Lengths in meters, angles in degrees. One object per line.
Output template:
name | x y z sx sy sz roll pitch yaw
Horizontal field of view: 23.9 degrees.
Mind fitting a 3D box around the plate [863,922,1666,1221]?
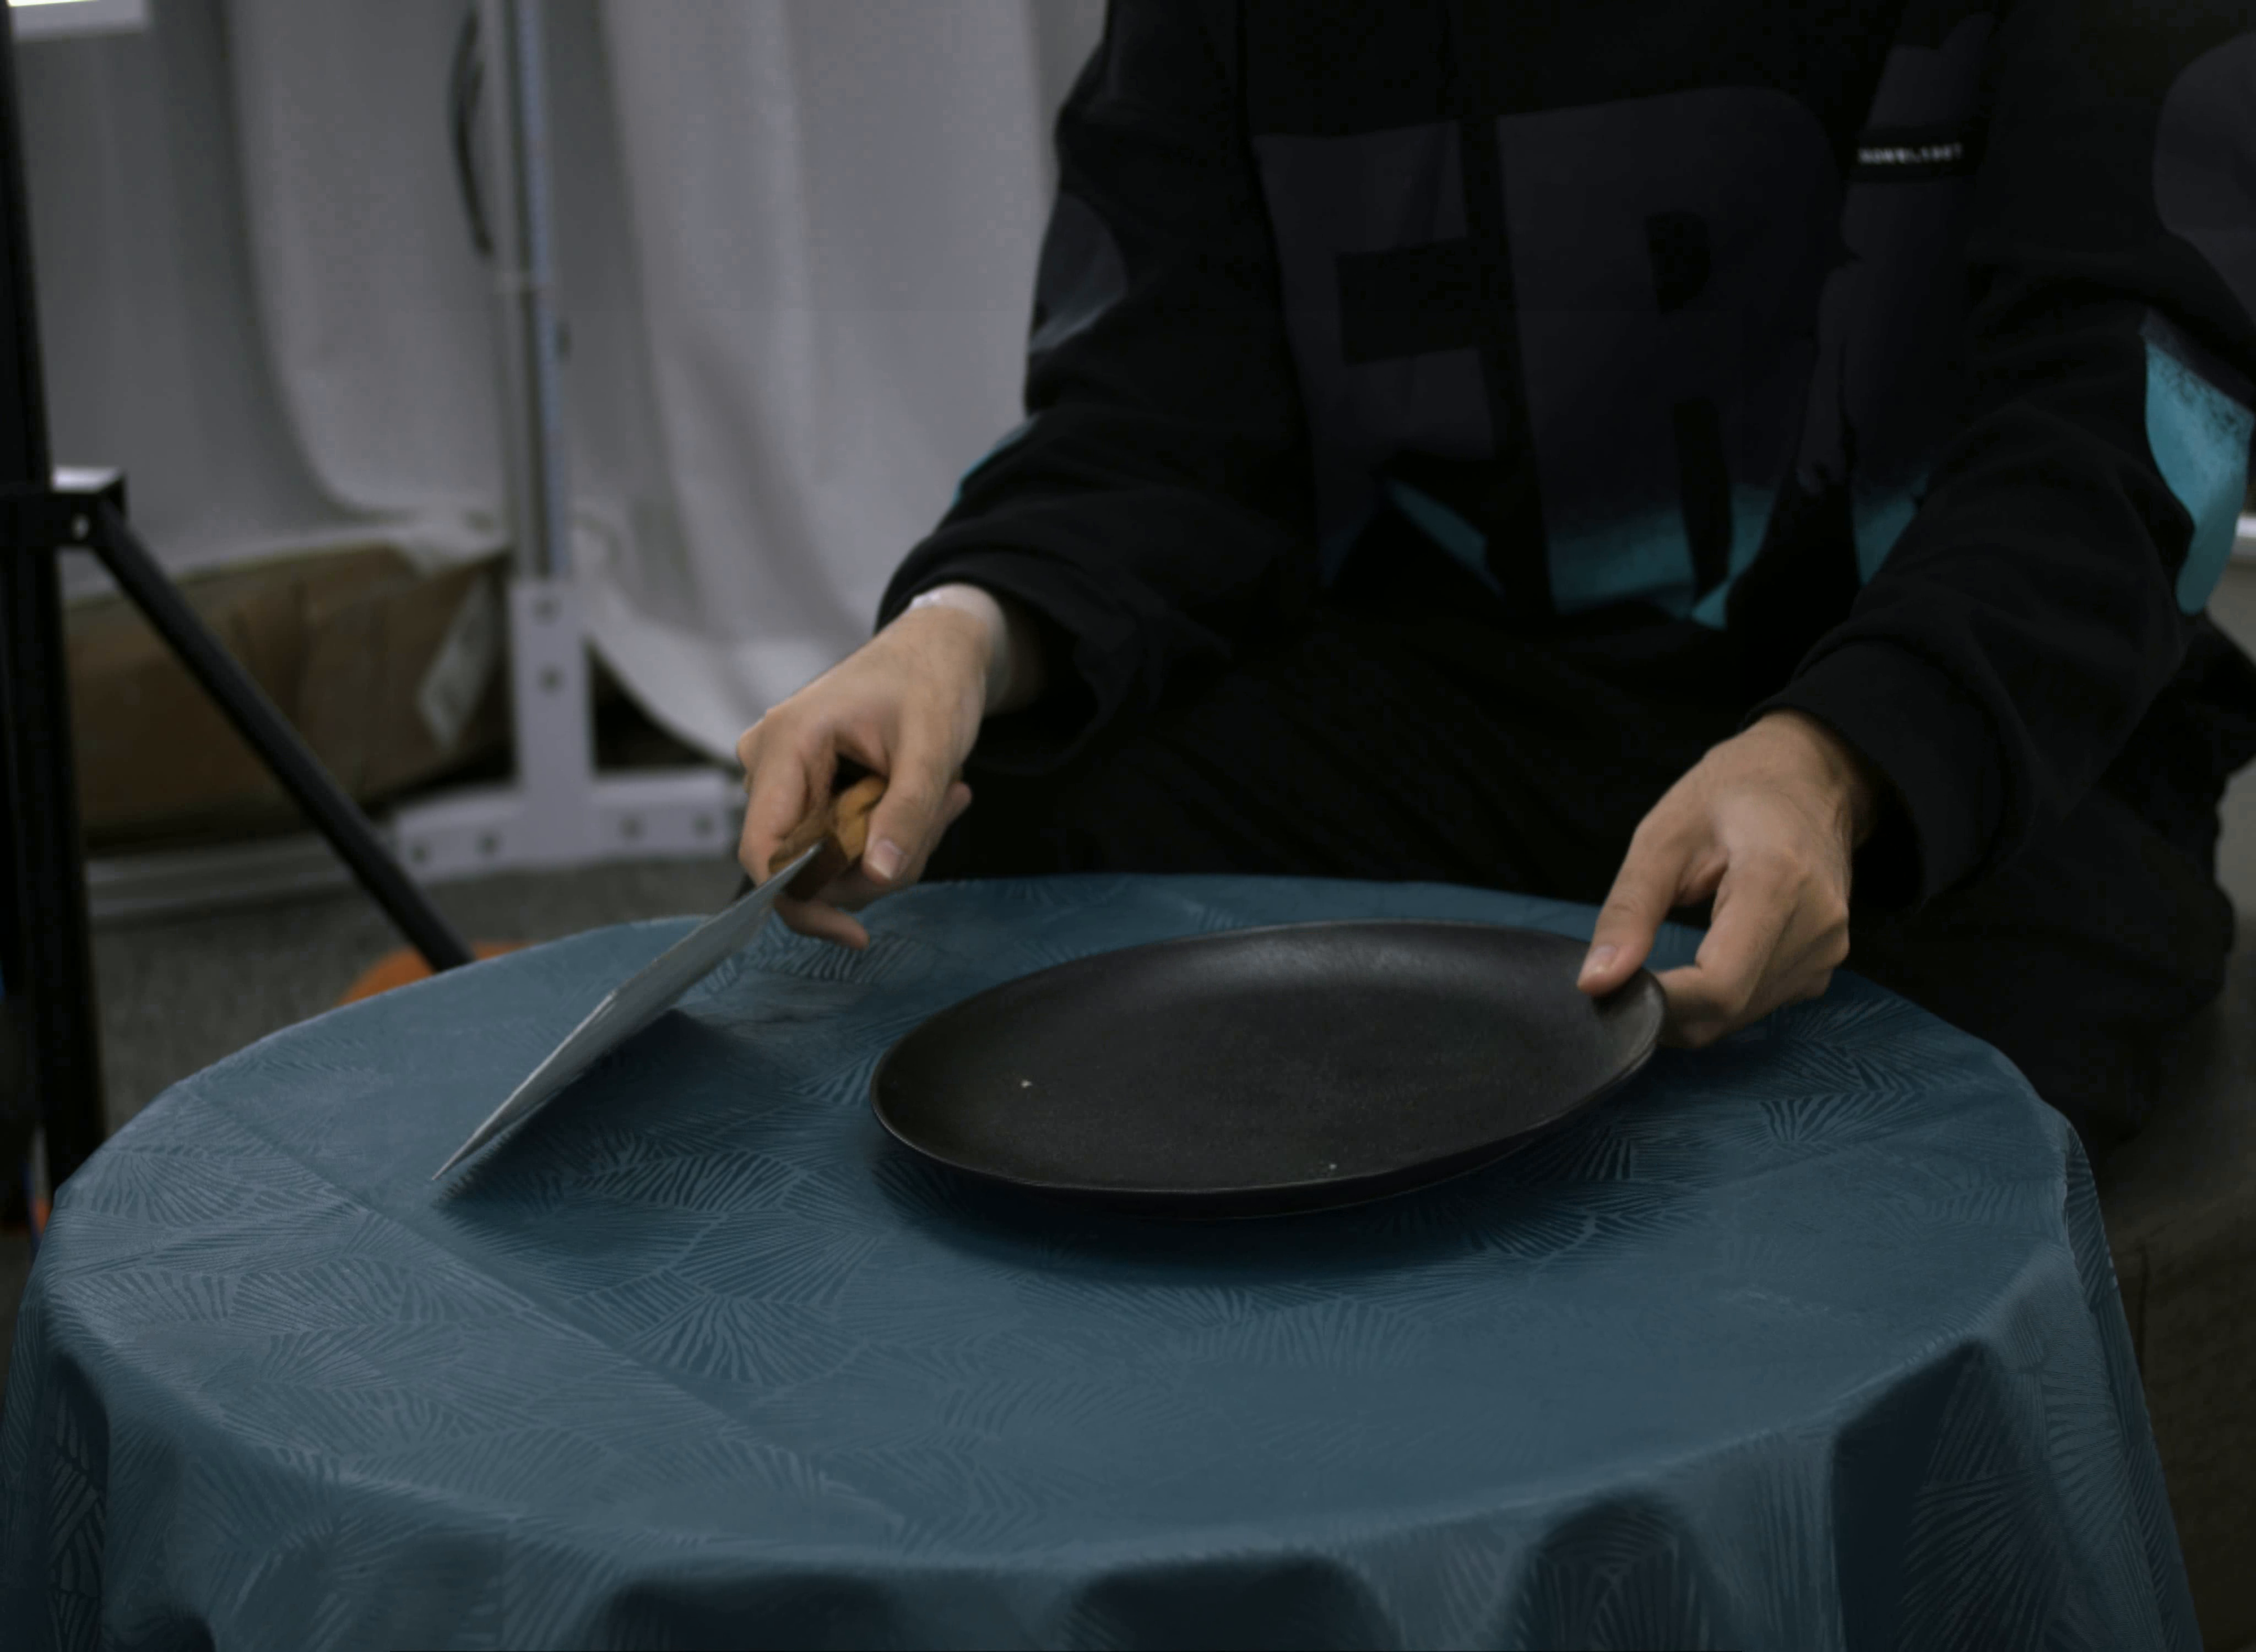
plate | 0.041 0.077 1.597 0.243 0.023 0.245 -6 16 0

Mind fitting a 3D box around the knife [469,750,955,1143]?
knife | -0.132 0.039 1.700 0.093 0.021 0.302 -44 -2 23
